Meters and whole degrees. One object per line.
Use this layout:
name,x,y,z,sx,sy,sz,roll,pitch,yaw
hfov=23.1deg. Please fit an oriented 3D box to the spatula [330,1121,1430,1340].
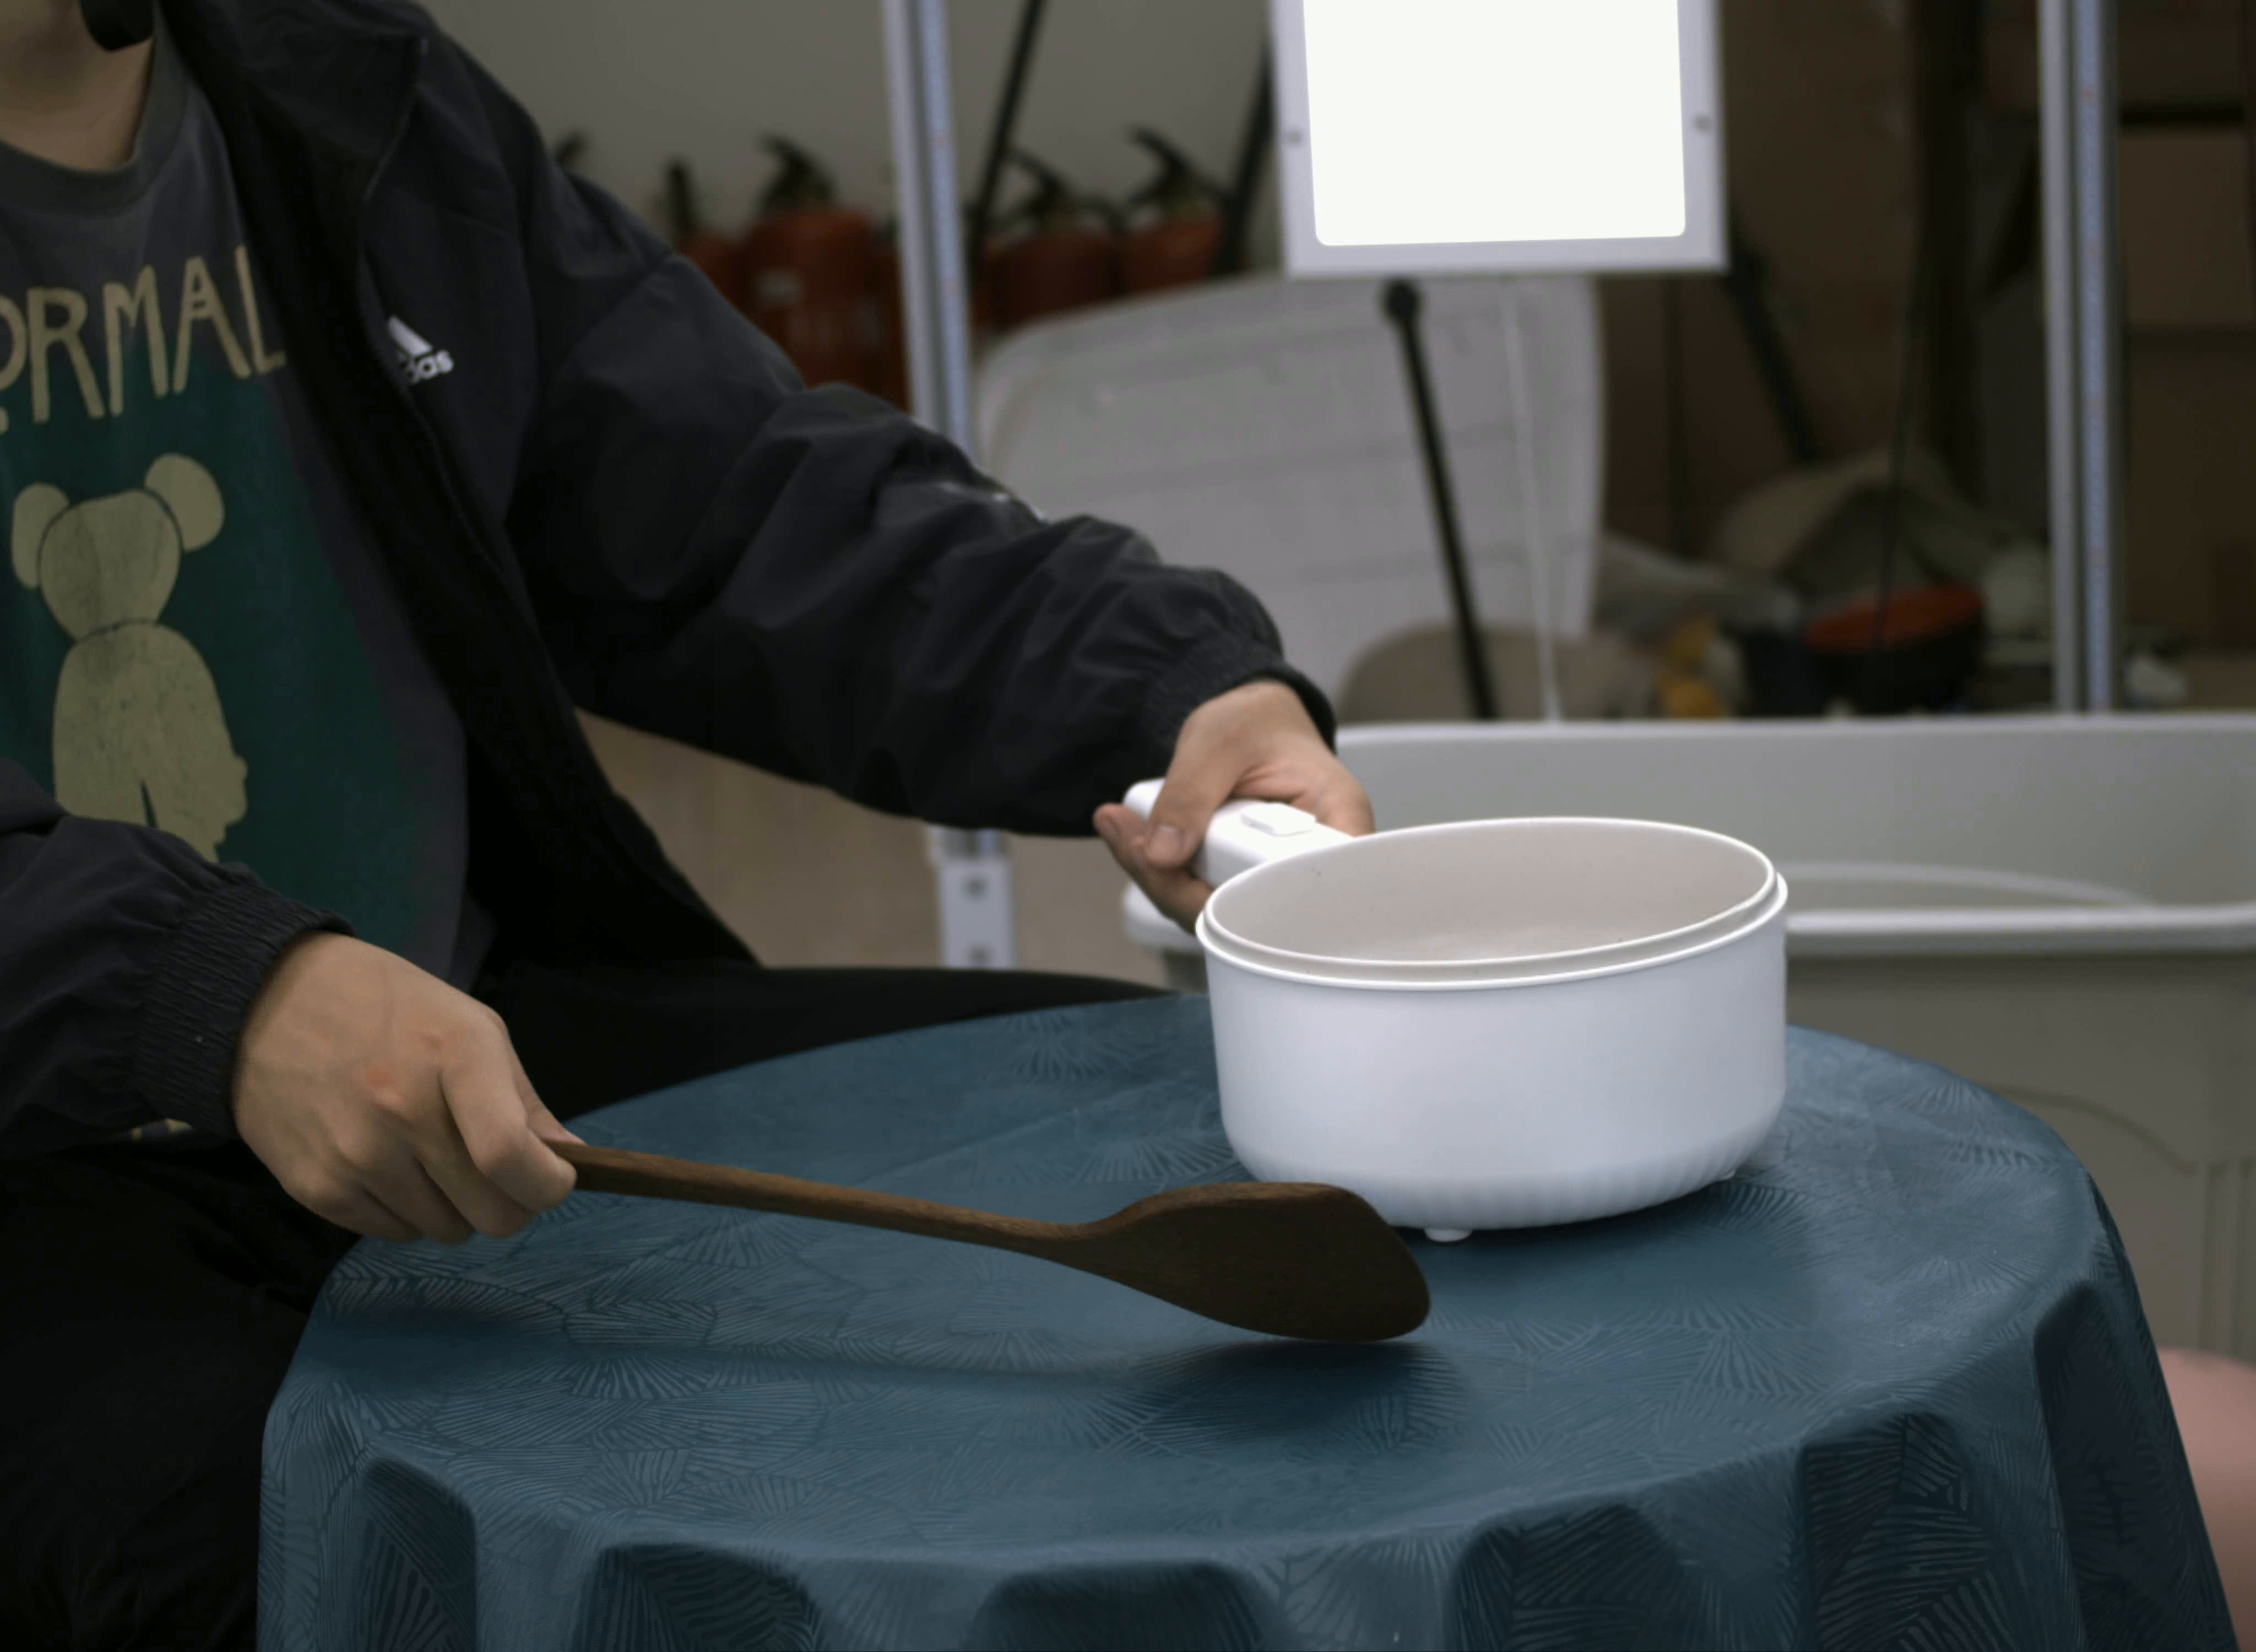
spatula,-0.087,0.122,1.758,0.392,0.095,0.015,5,59,25

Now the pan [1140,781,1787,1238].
pan,0.095,0.057,1.941,0.197,0.102,0.360,-11,13,-22
